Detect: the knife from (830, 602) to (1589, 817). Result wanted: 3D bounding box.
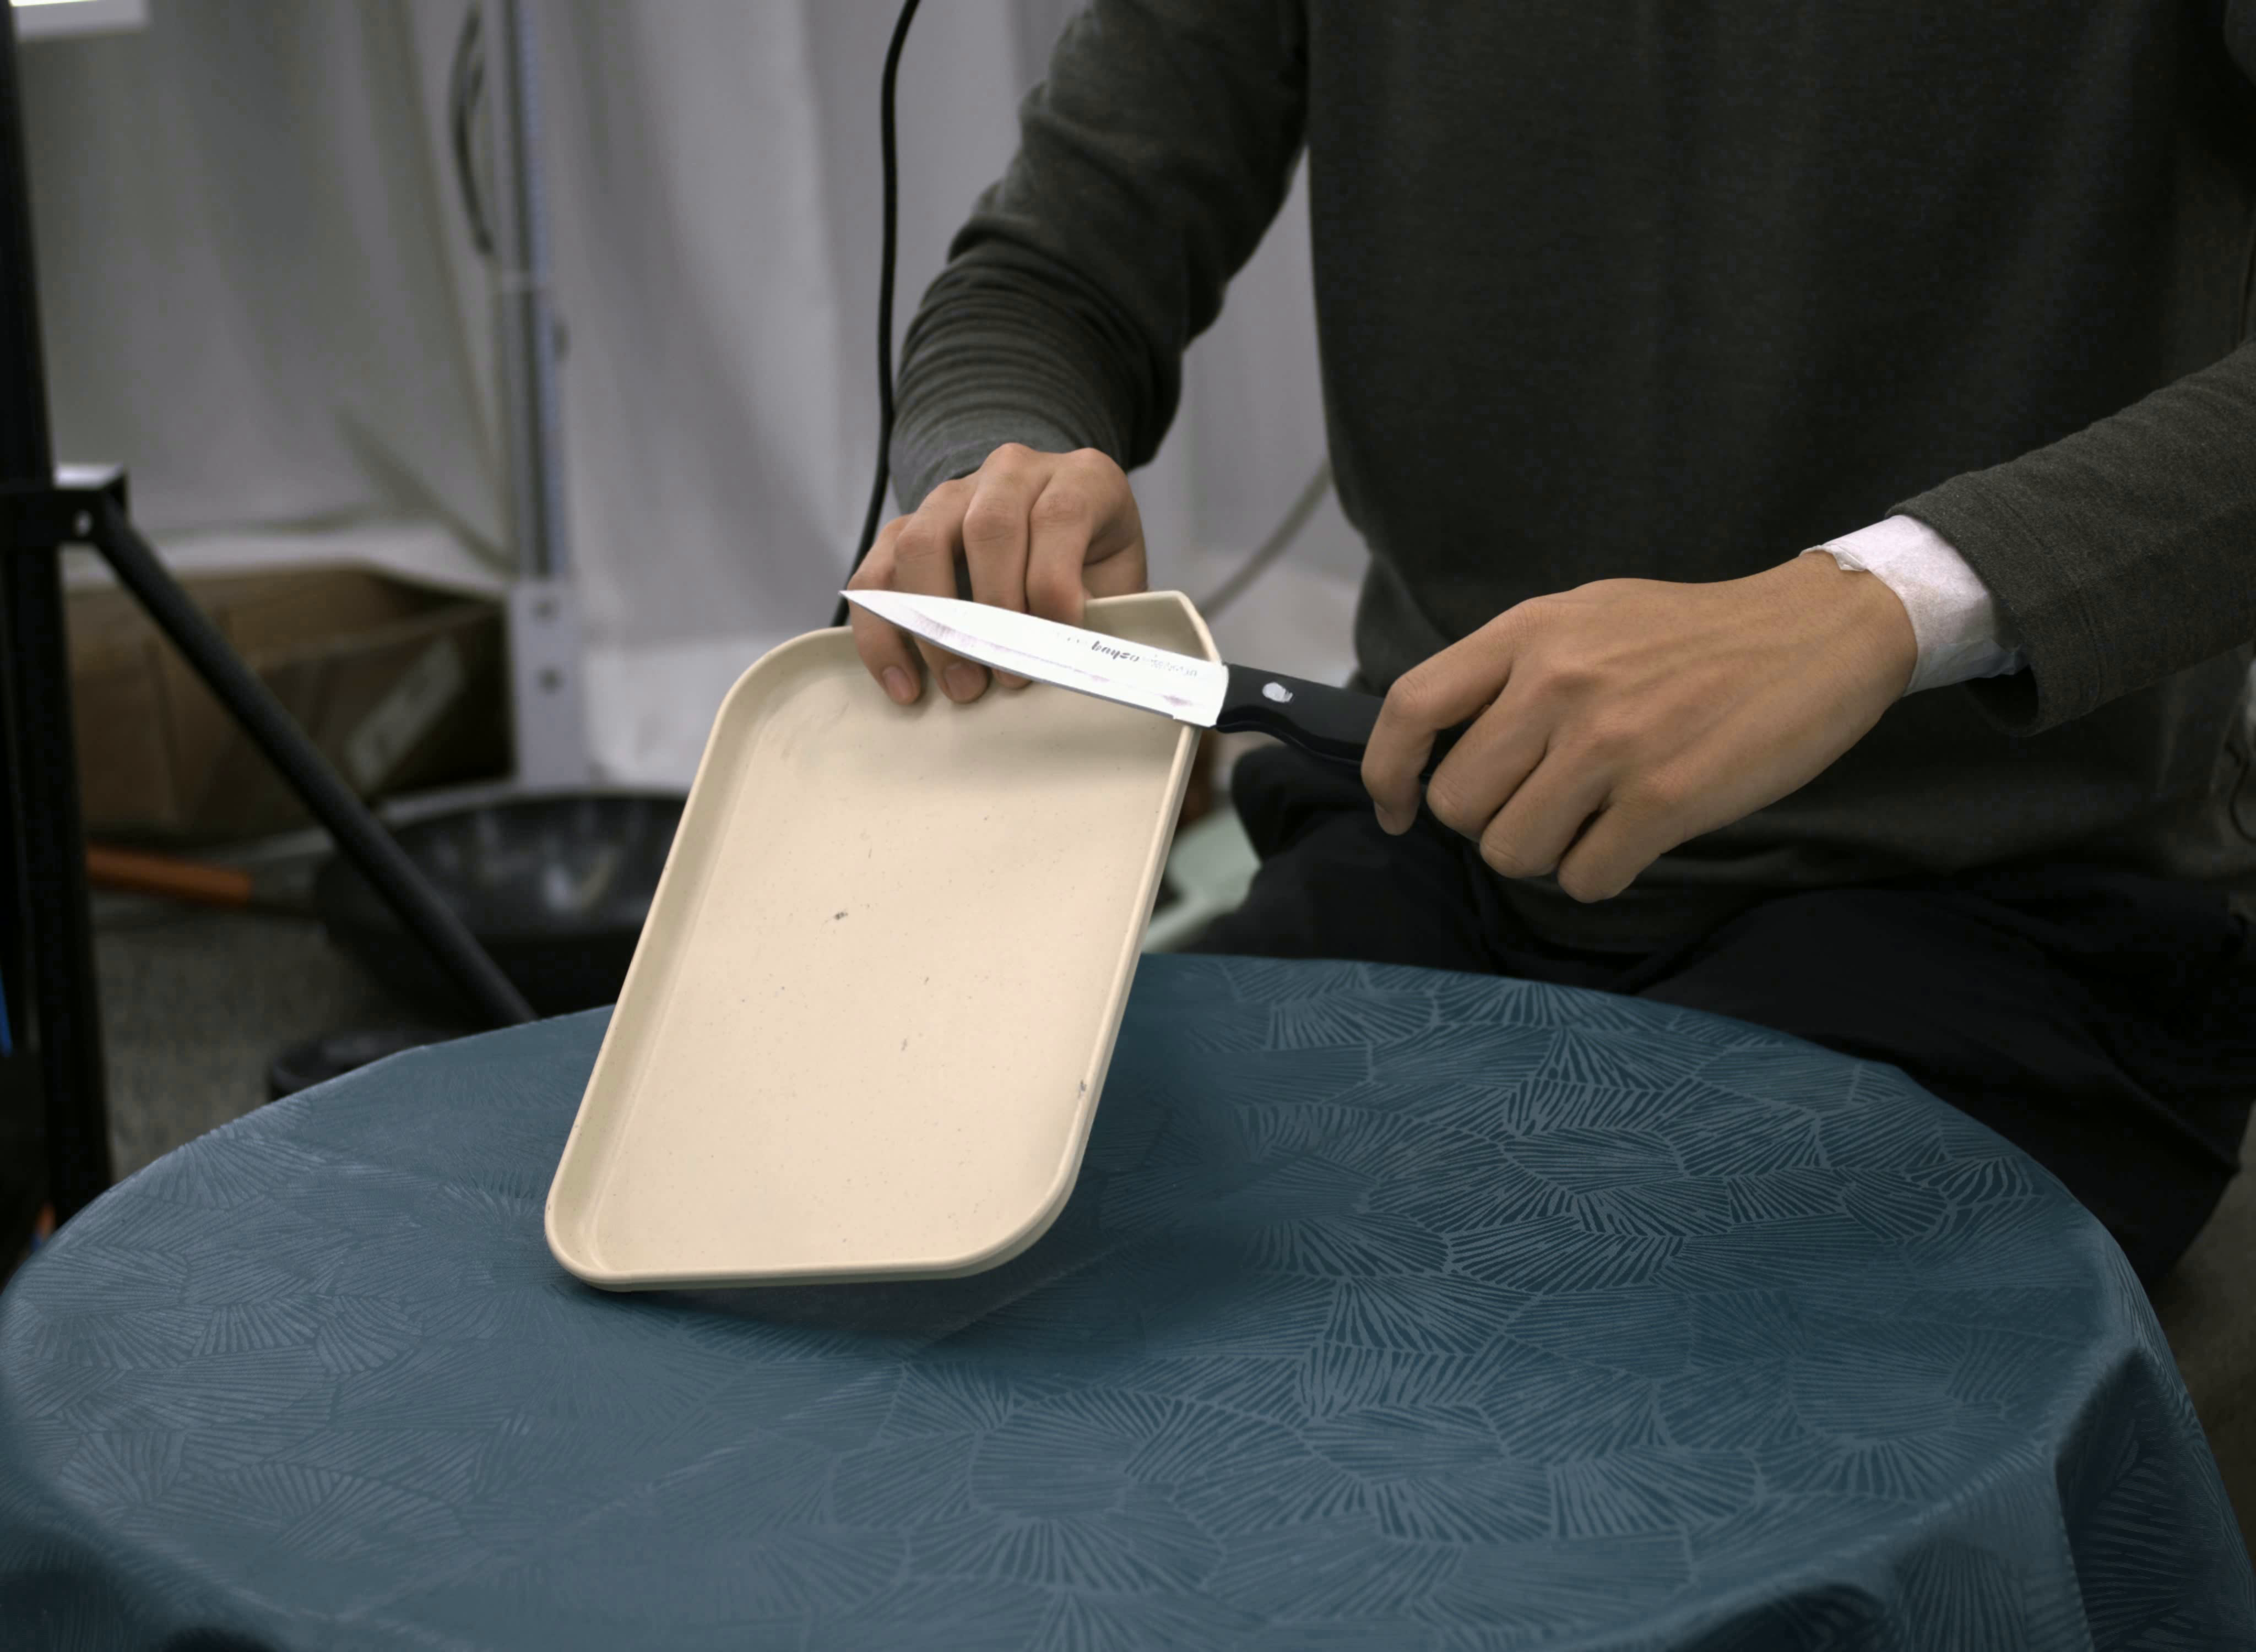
[{"bbox_3d":[0.022,-0.039,1.534,0.241,0.016,0.024,14,56,21],"label":"knife"}]

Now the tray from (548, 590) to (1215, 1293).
[{"bbox_3d":[-0.068,0.034,1.538,0.174,0.017,0.240,-6,50,29],"label":"tray"}]
